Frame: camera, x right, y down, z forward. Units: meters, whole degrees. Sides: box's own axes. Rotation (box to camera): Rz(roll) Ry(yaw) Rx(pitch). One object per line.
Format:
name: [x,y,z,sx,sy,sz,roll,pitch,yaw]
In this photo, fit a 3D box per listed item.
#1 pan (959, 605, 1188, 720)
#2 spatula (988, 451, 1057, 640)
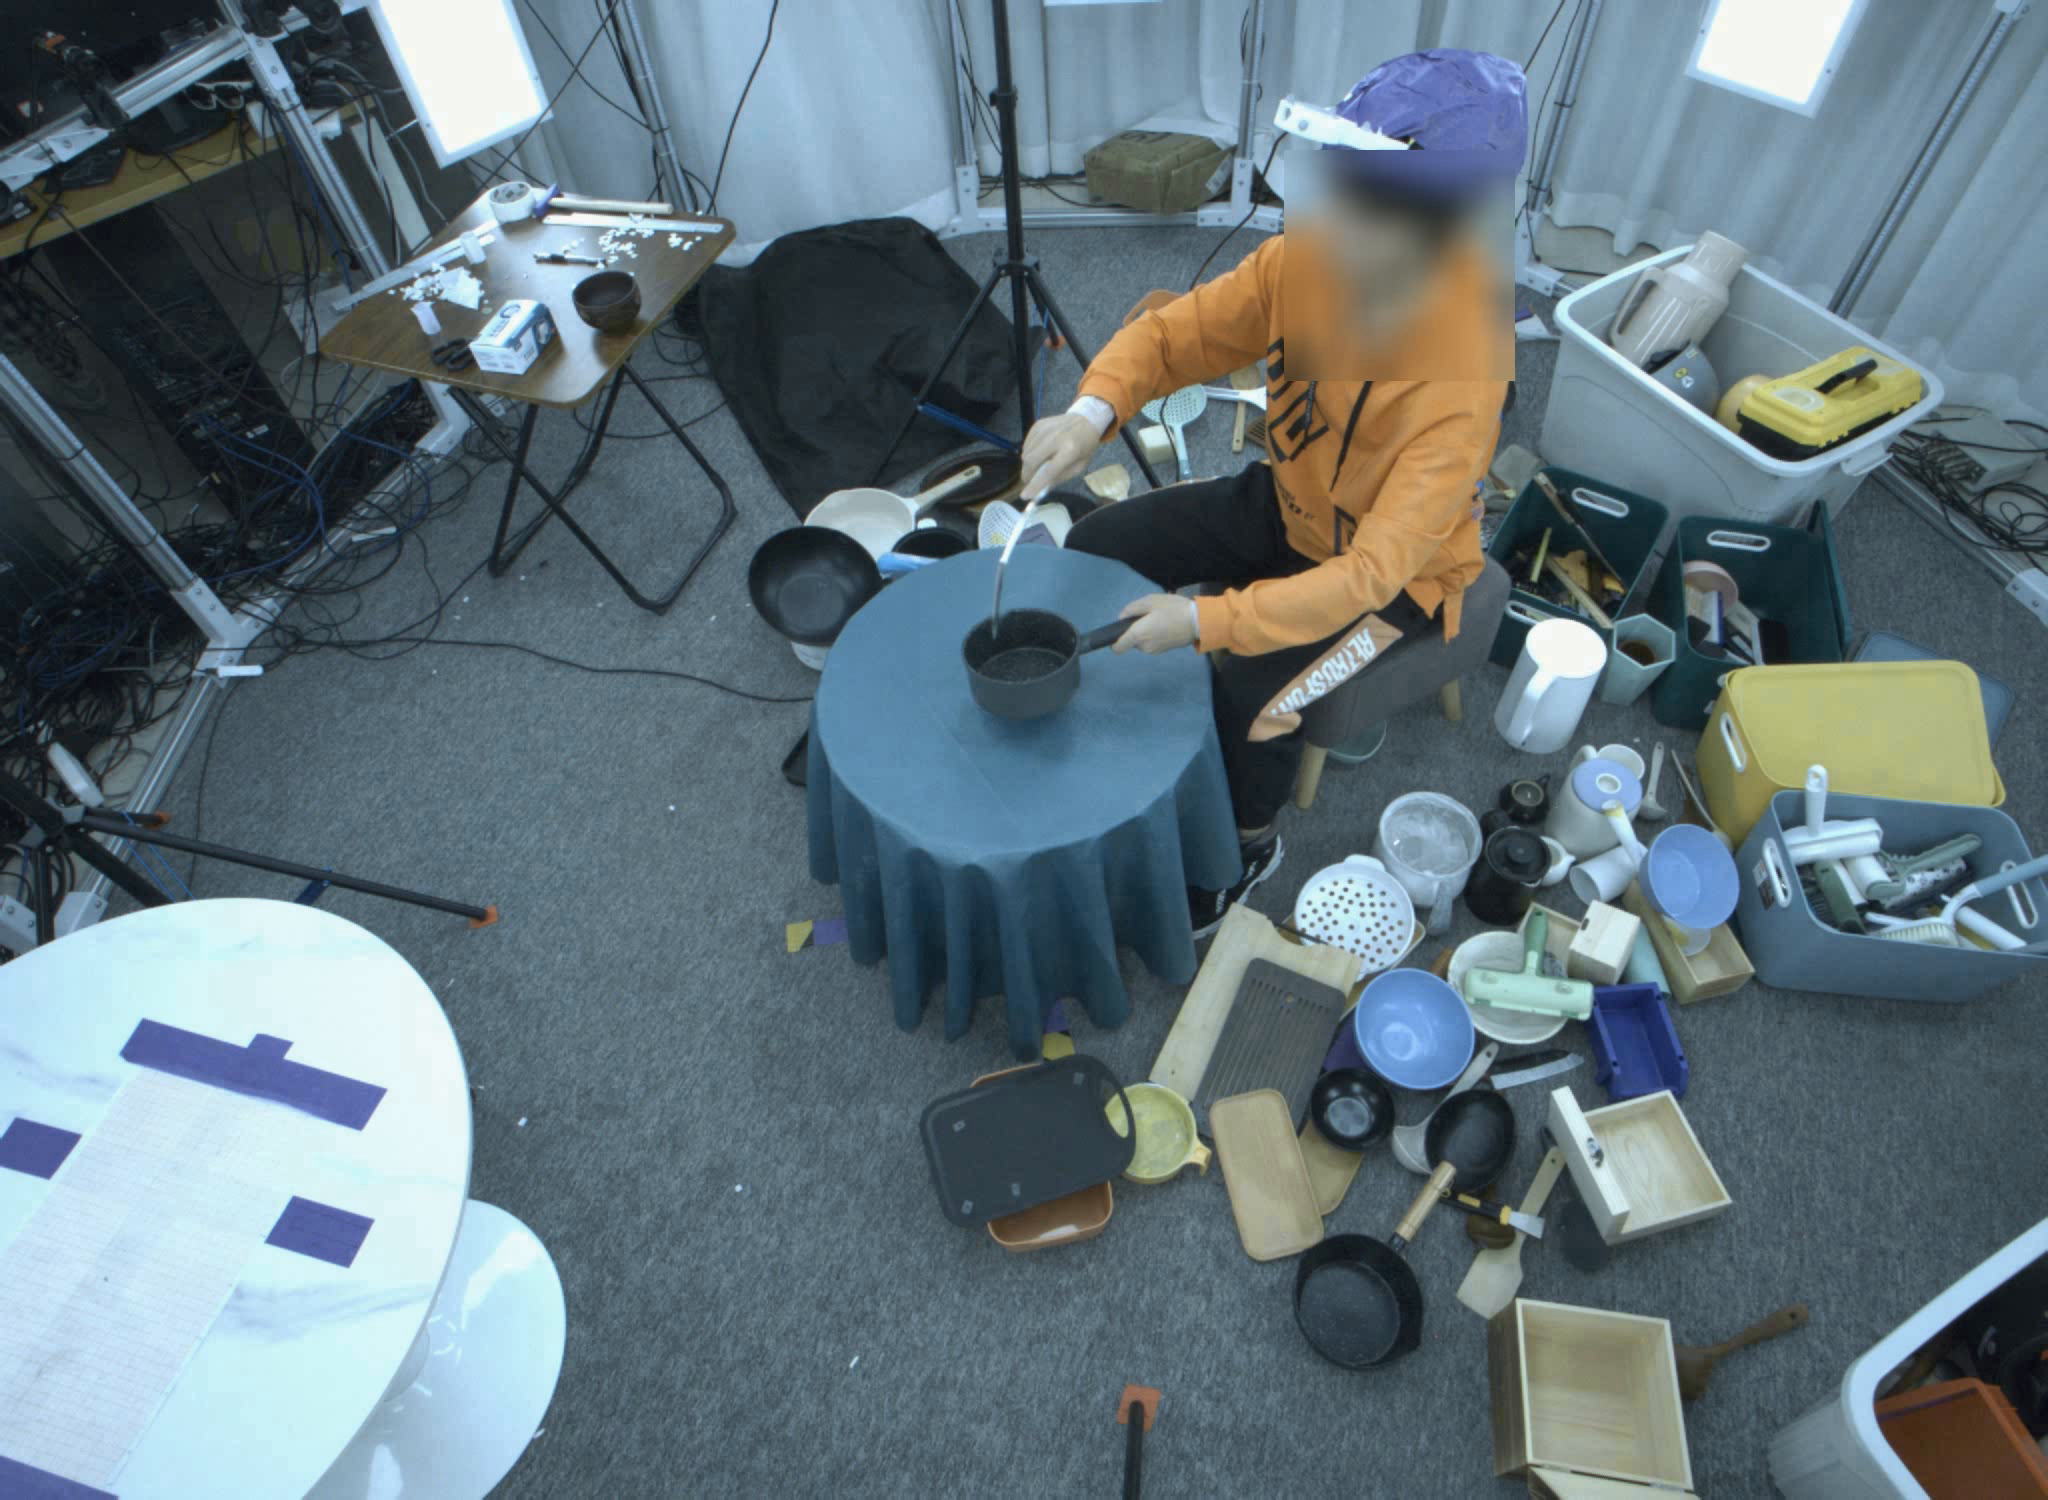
pan: [0.075,-0.140,1.775,0.329,0.087,0.169,-12,45,-3]
spatula: [-0.012,-0.291,1.715,0.032,0.059,0.287,17,76,4]
